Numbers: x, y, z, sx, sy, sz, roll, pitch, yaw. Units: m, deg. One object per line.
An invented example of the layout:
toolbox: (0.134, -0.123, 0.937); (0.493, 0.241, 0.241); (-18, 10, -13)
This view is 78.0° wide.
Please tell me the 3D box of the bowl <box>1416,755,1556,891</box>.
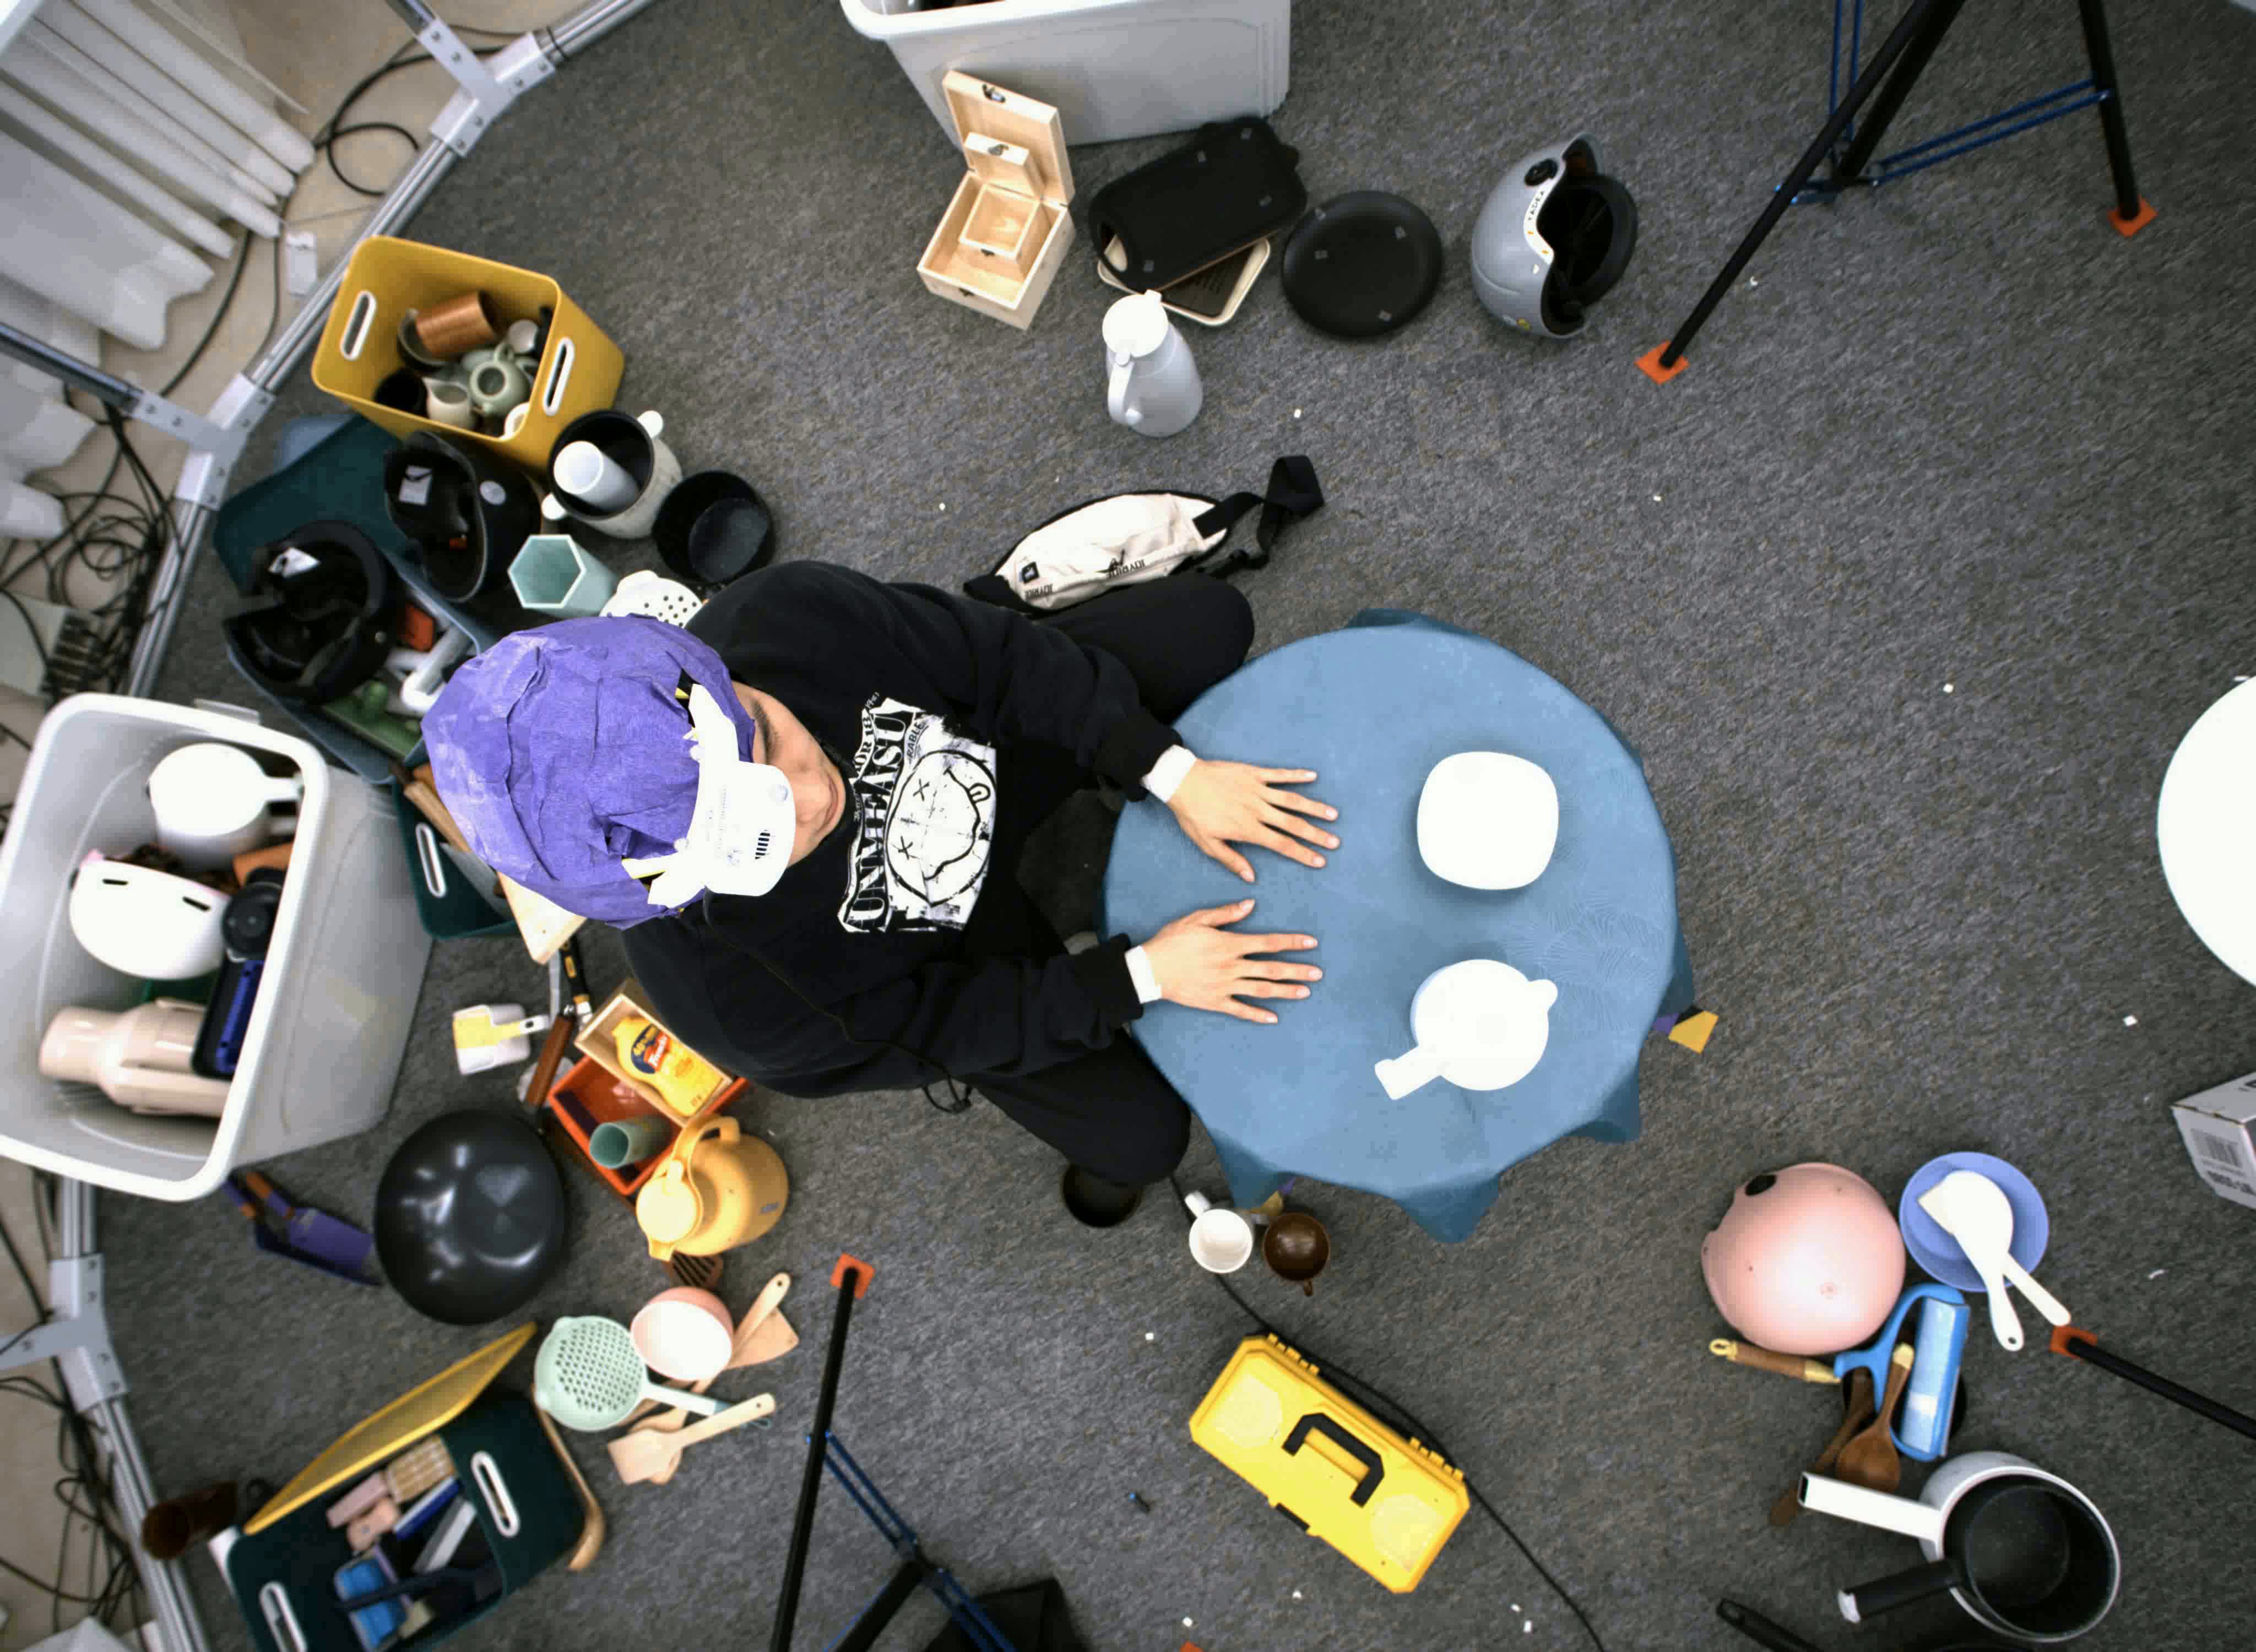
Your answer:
bowl: (0.368, -0.003, 1.419); (0.152, 0.058, 0.151); (-1, 86, 11)

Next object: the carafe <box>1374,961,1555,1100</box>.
carafe: (0.315, 0.196, 1.311); (0.174, 0.269, 0.123); (-33, 82, 6)
